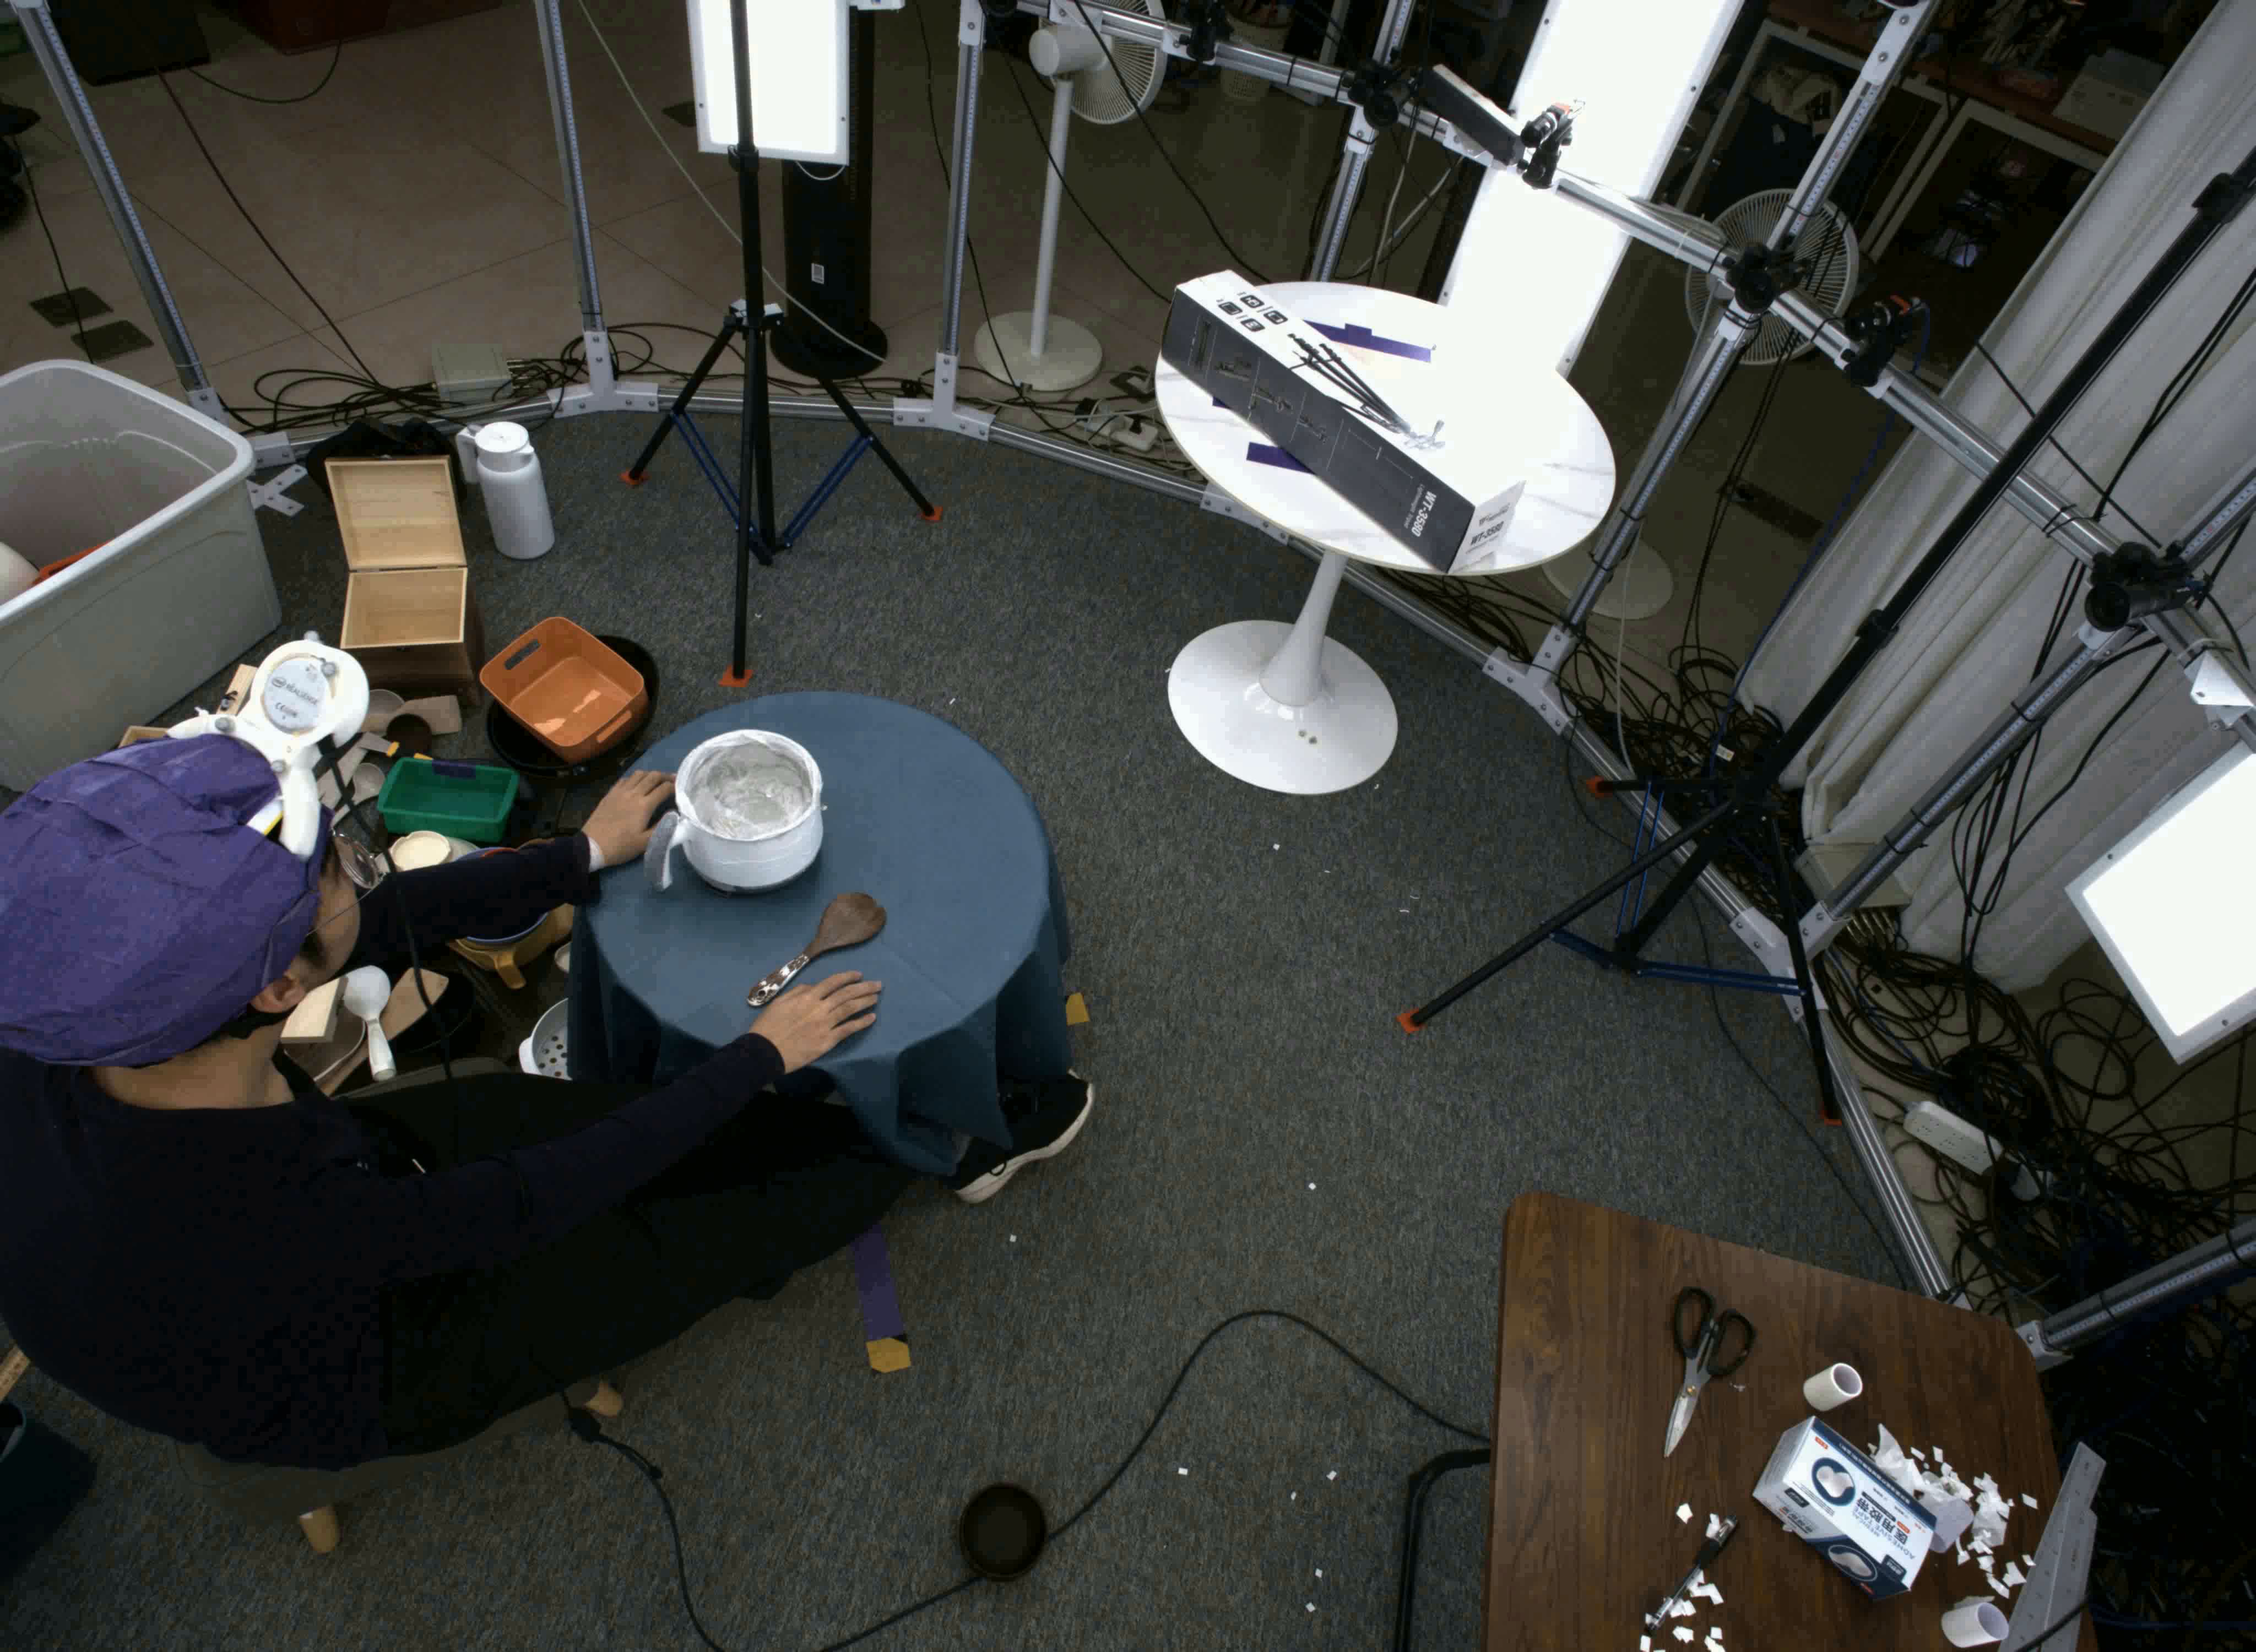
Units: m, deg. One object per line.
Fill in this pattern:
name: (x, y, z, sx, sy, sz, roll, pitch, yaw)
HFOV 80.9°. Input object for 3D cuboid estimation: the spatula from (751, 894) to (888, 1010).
spatula: (-0.391, 0.155, 1.626, 0.070, 0.009, 0.216, 37, 55, 15)

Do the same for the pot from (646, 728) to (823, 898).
pot: (-0.499, -0.004, 1.629, 0.234, 0.140, 0.174, -30, 62, -32)
